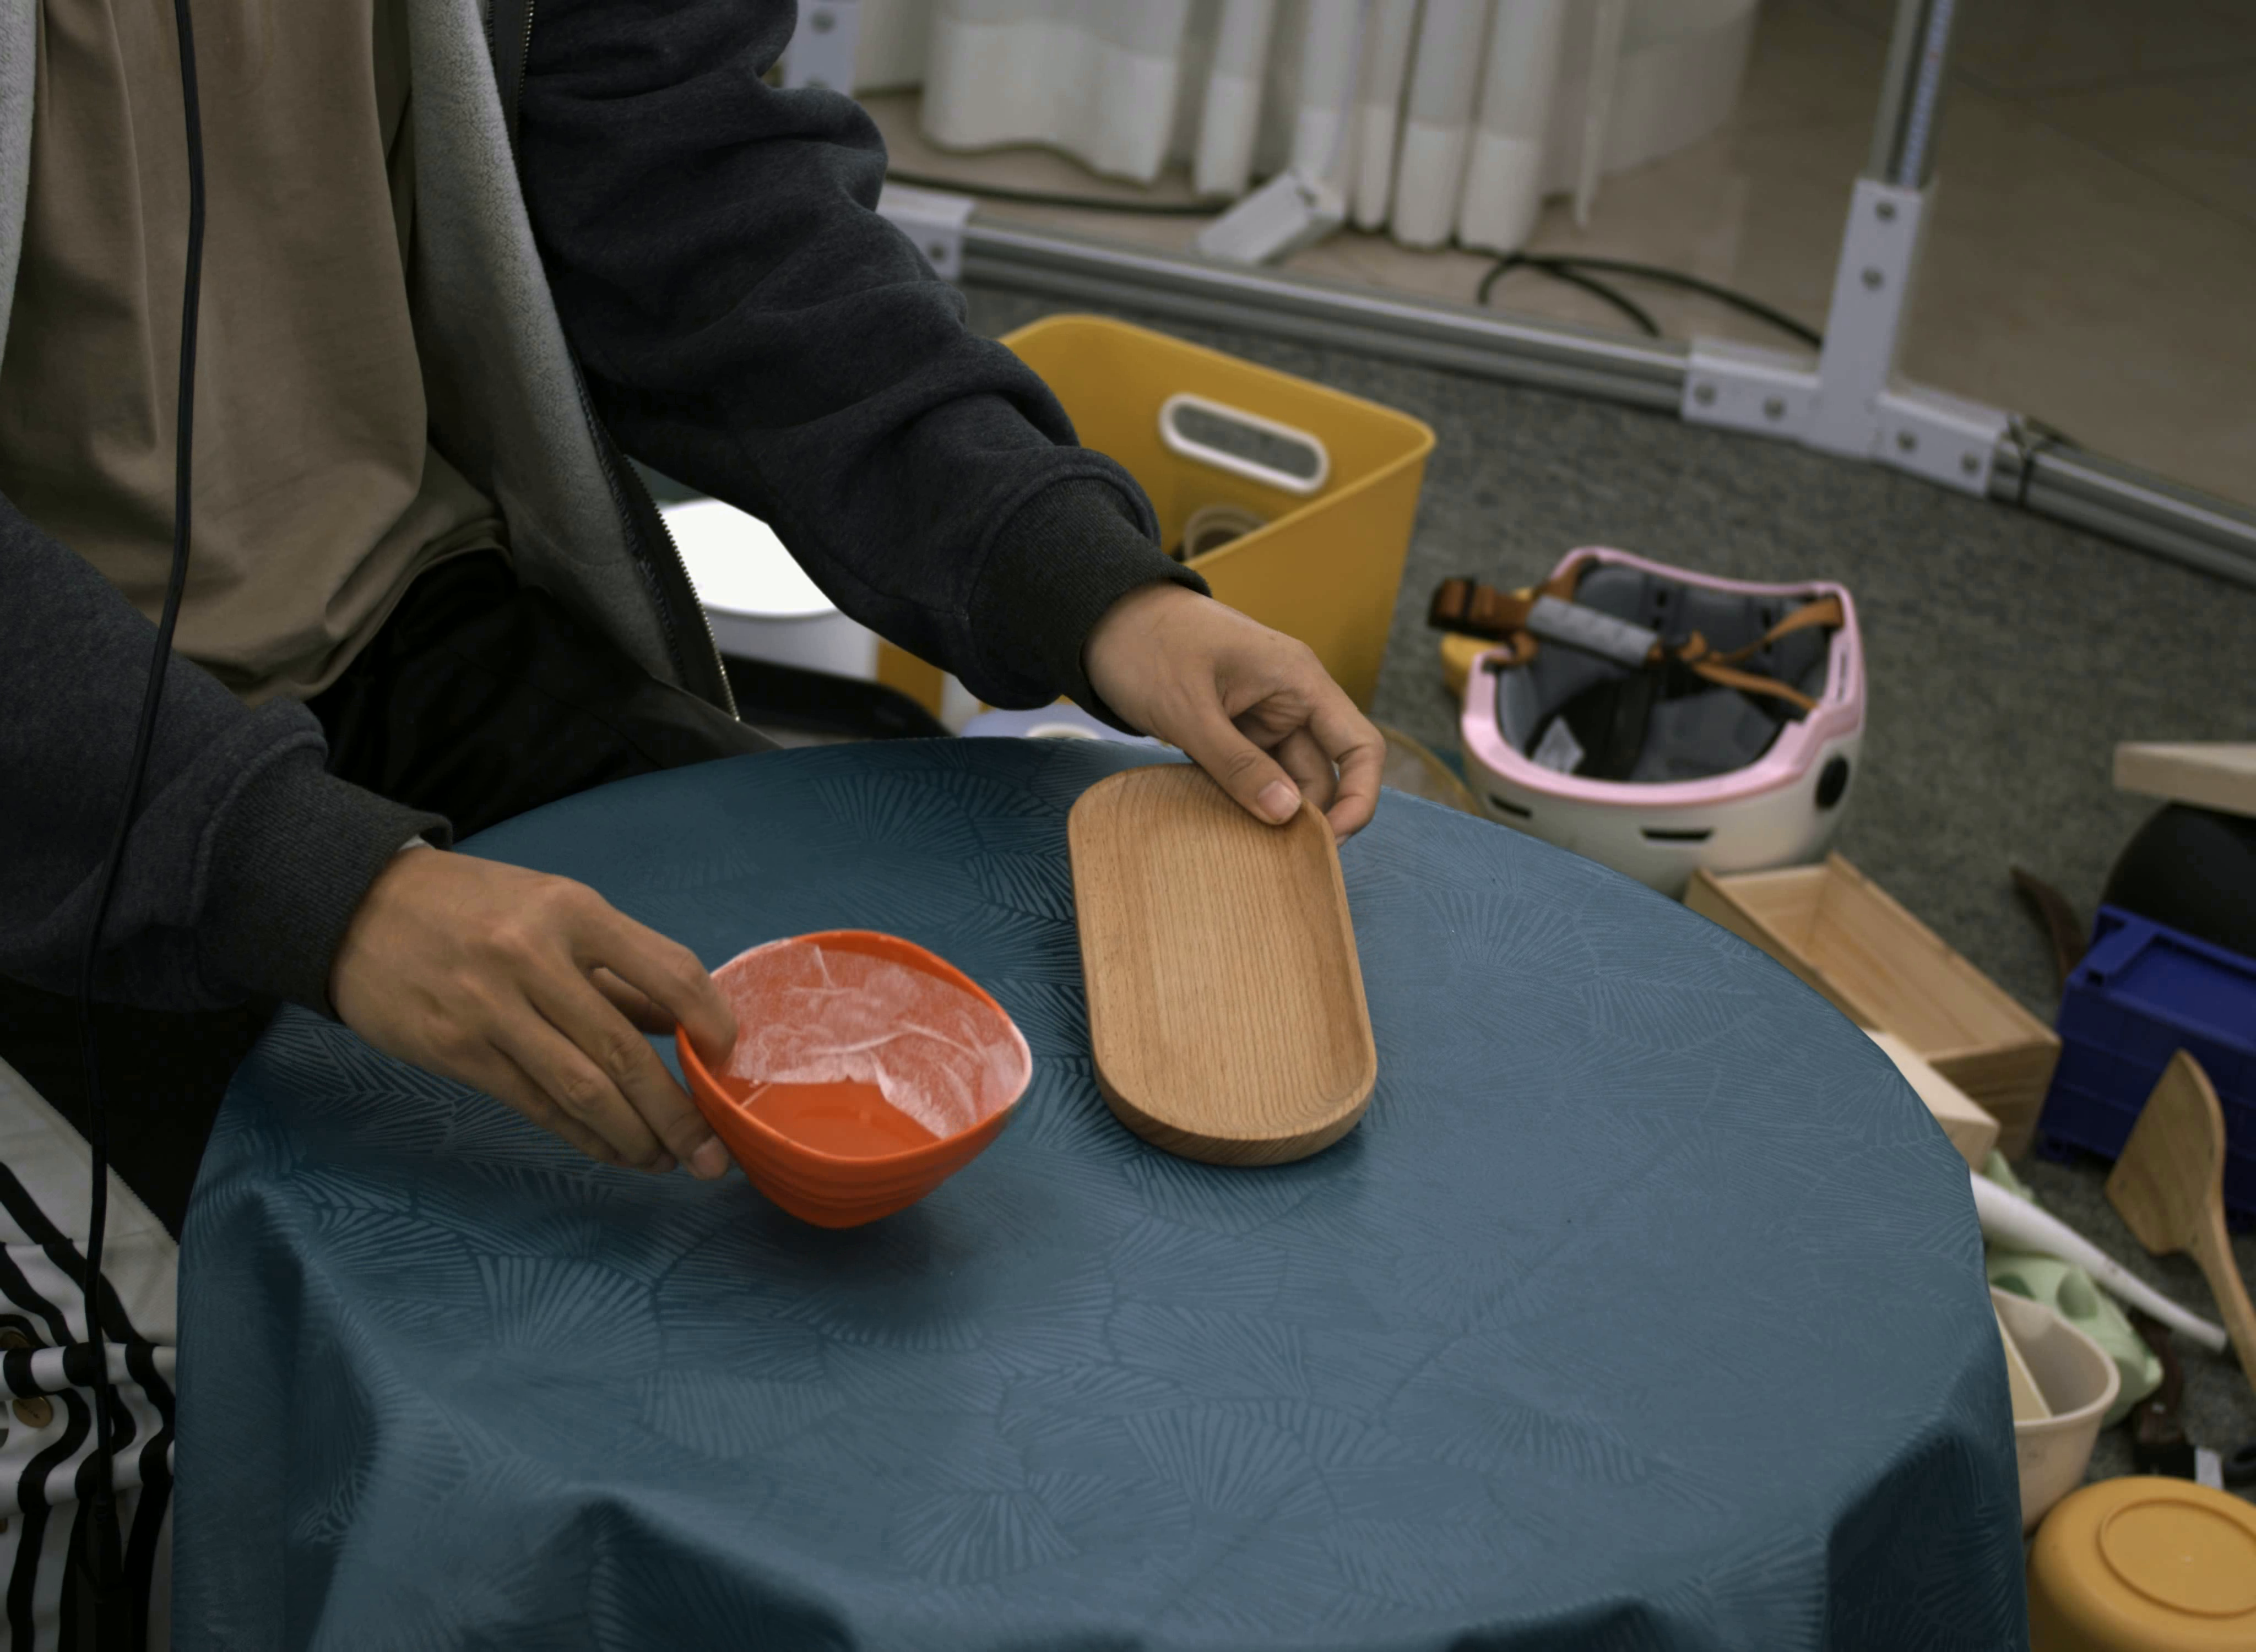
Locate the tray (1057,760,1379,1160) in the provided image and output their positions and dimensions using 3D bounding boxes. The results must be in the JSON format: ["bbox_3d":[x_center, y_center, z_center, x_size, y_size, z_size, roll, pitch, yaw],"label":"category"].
[{"bbox_3d":[0.030,0.046,1.915,0.101,0.020,0.233,1,33,-8],"label":"tray"}]

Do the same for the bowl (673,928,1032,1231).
[{"bbox_3d":[-0.094,0.090,1.758,0.118,0.051,0.120,6,38,-5],"label":"bowl"}]
